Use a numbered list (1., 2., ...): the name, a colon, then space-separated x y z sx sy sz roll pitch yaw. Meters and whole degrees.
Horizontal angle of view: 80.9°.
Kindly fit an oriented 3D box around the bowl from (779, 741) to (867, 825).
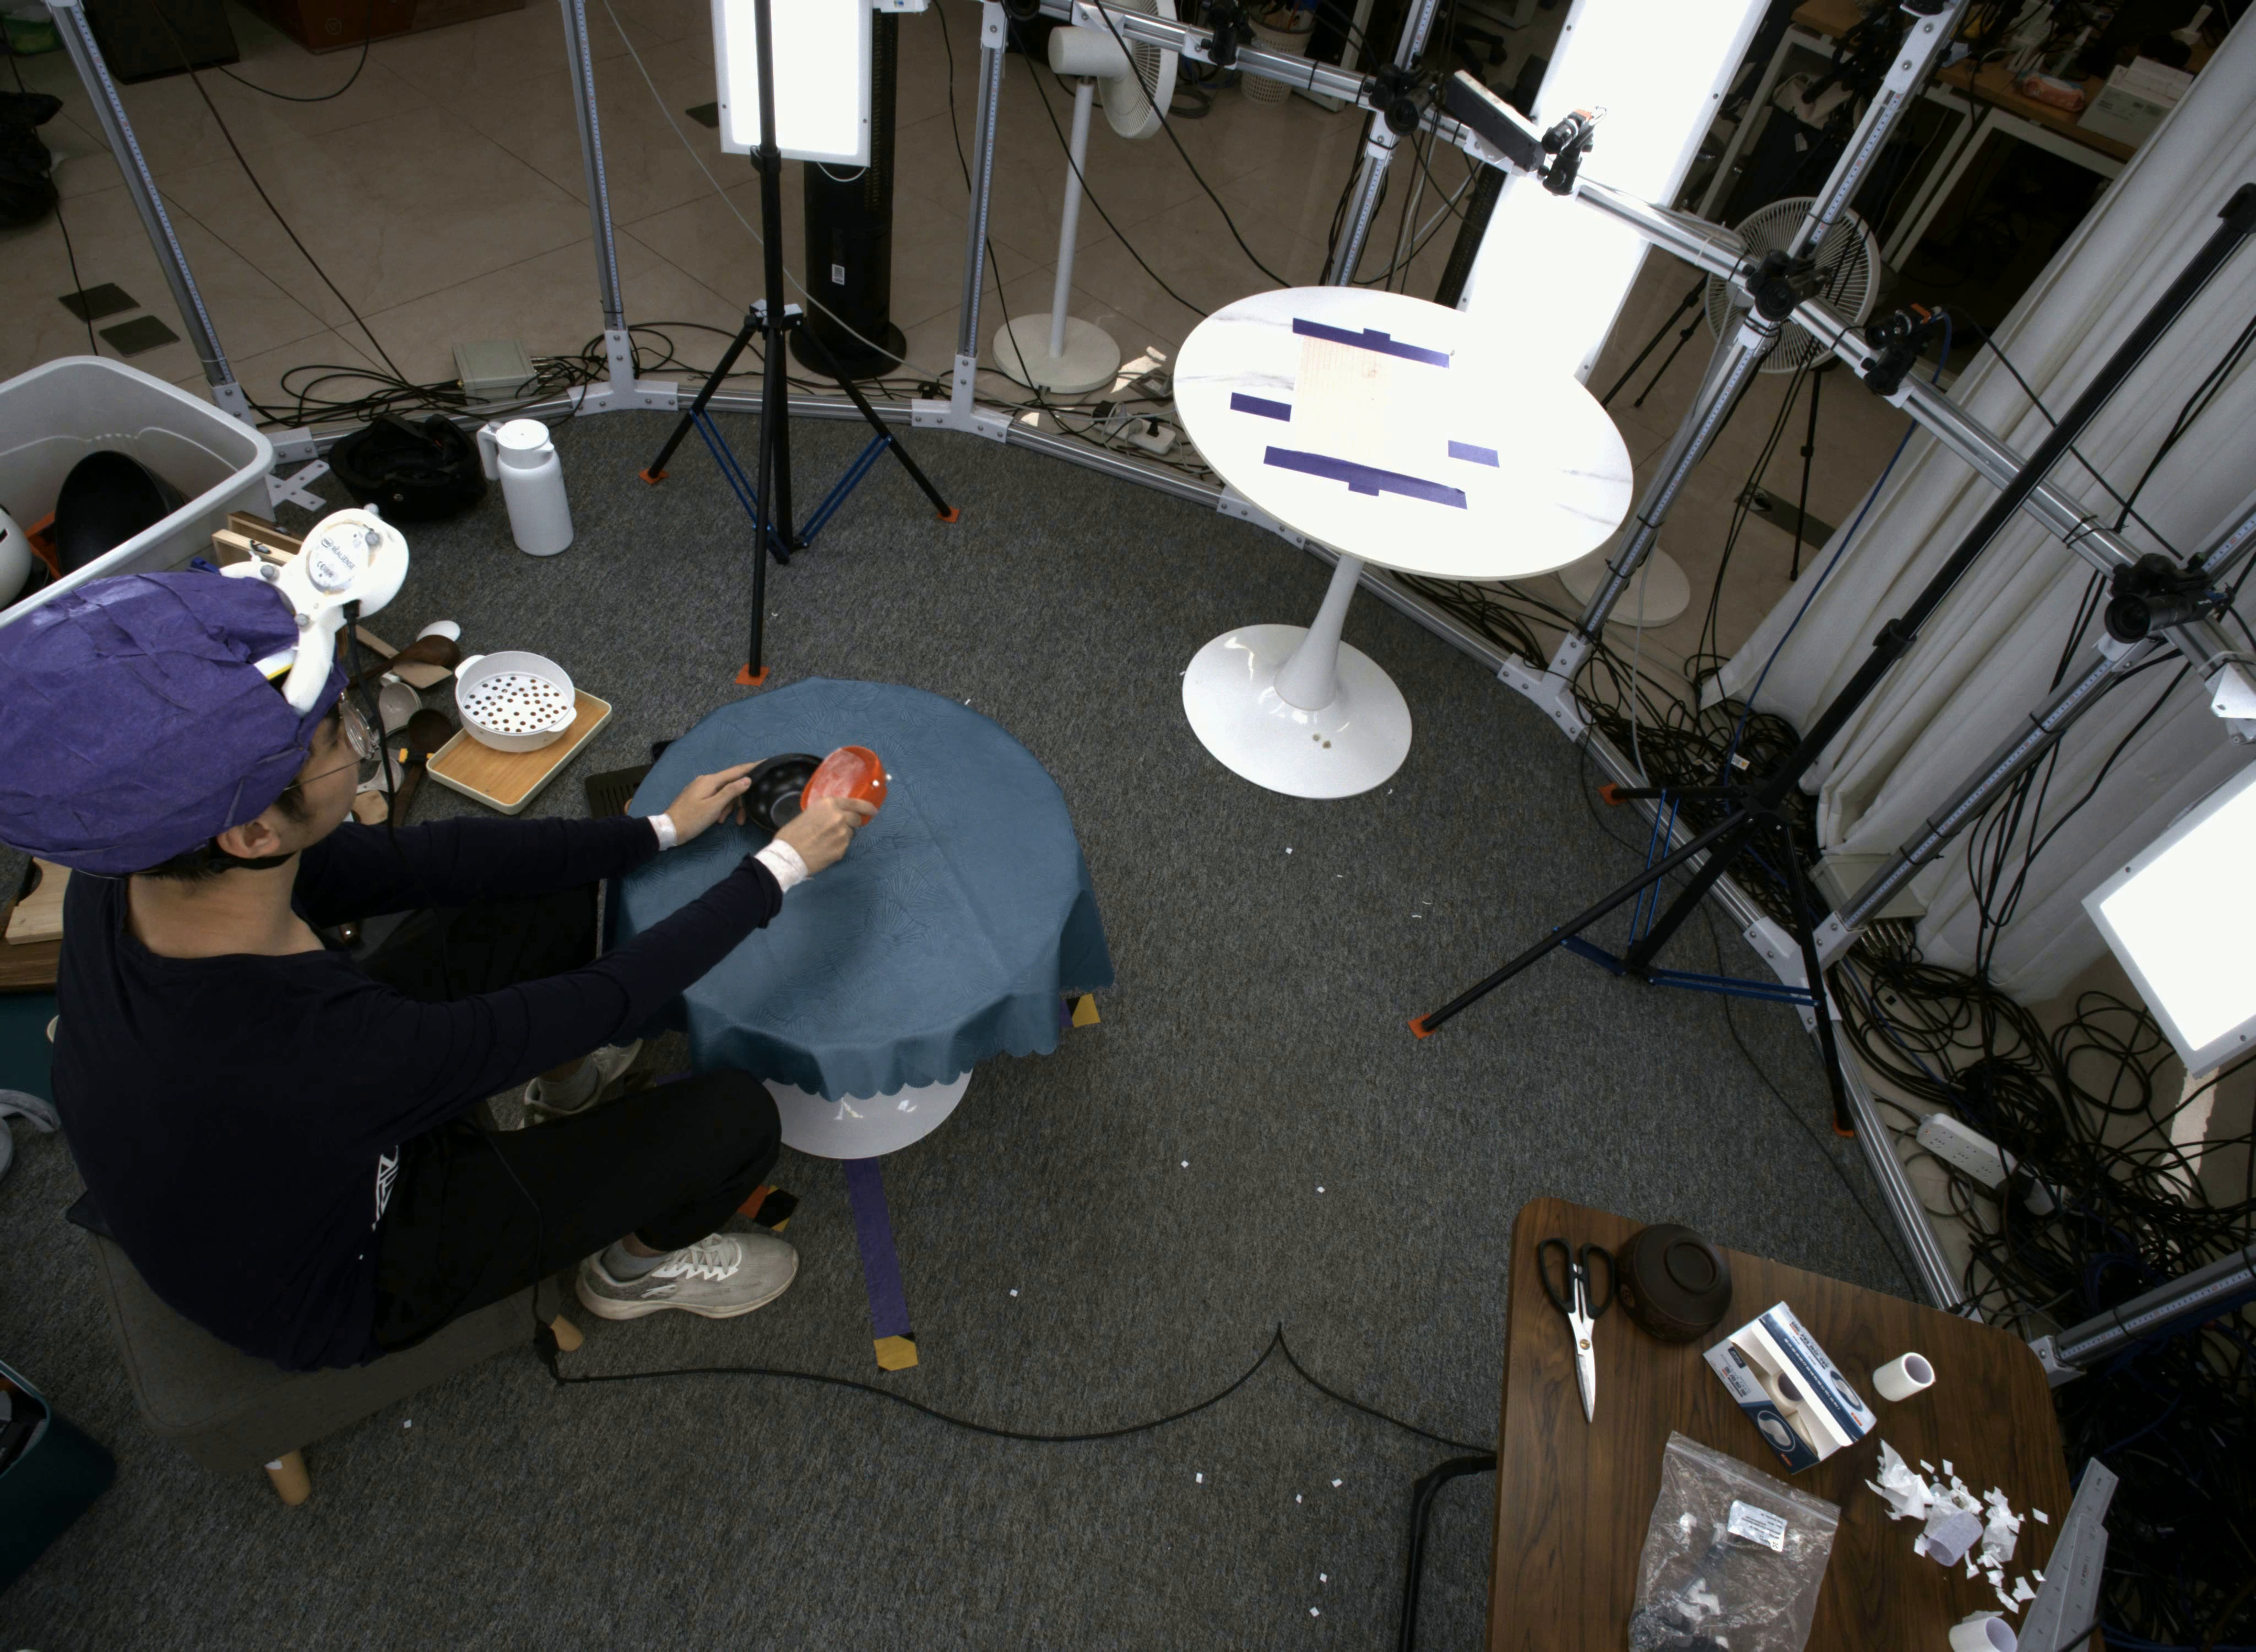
1. bowl: -0.372 -0.046 1.617 0.116 0.053 0.117 -12 53 18

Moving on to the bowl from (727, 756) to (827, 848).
1. bowl: -0.458 -0.025 1.717 0.139 0.051 0.138 5 56 -6
